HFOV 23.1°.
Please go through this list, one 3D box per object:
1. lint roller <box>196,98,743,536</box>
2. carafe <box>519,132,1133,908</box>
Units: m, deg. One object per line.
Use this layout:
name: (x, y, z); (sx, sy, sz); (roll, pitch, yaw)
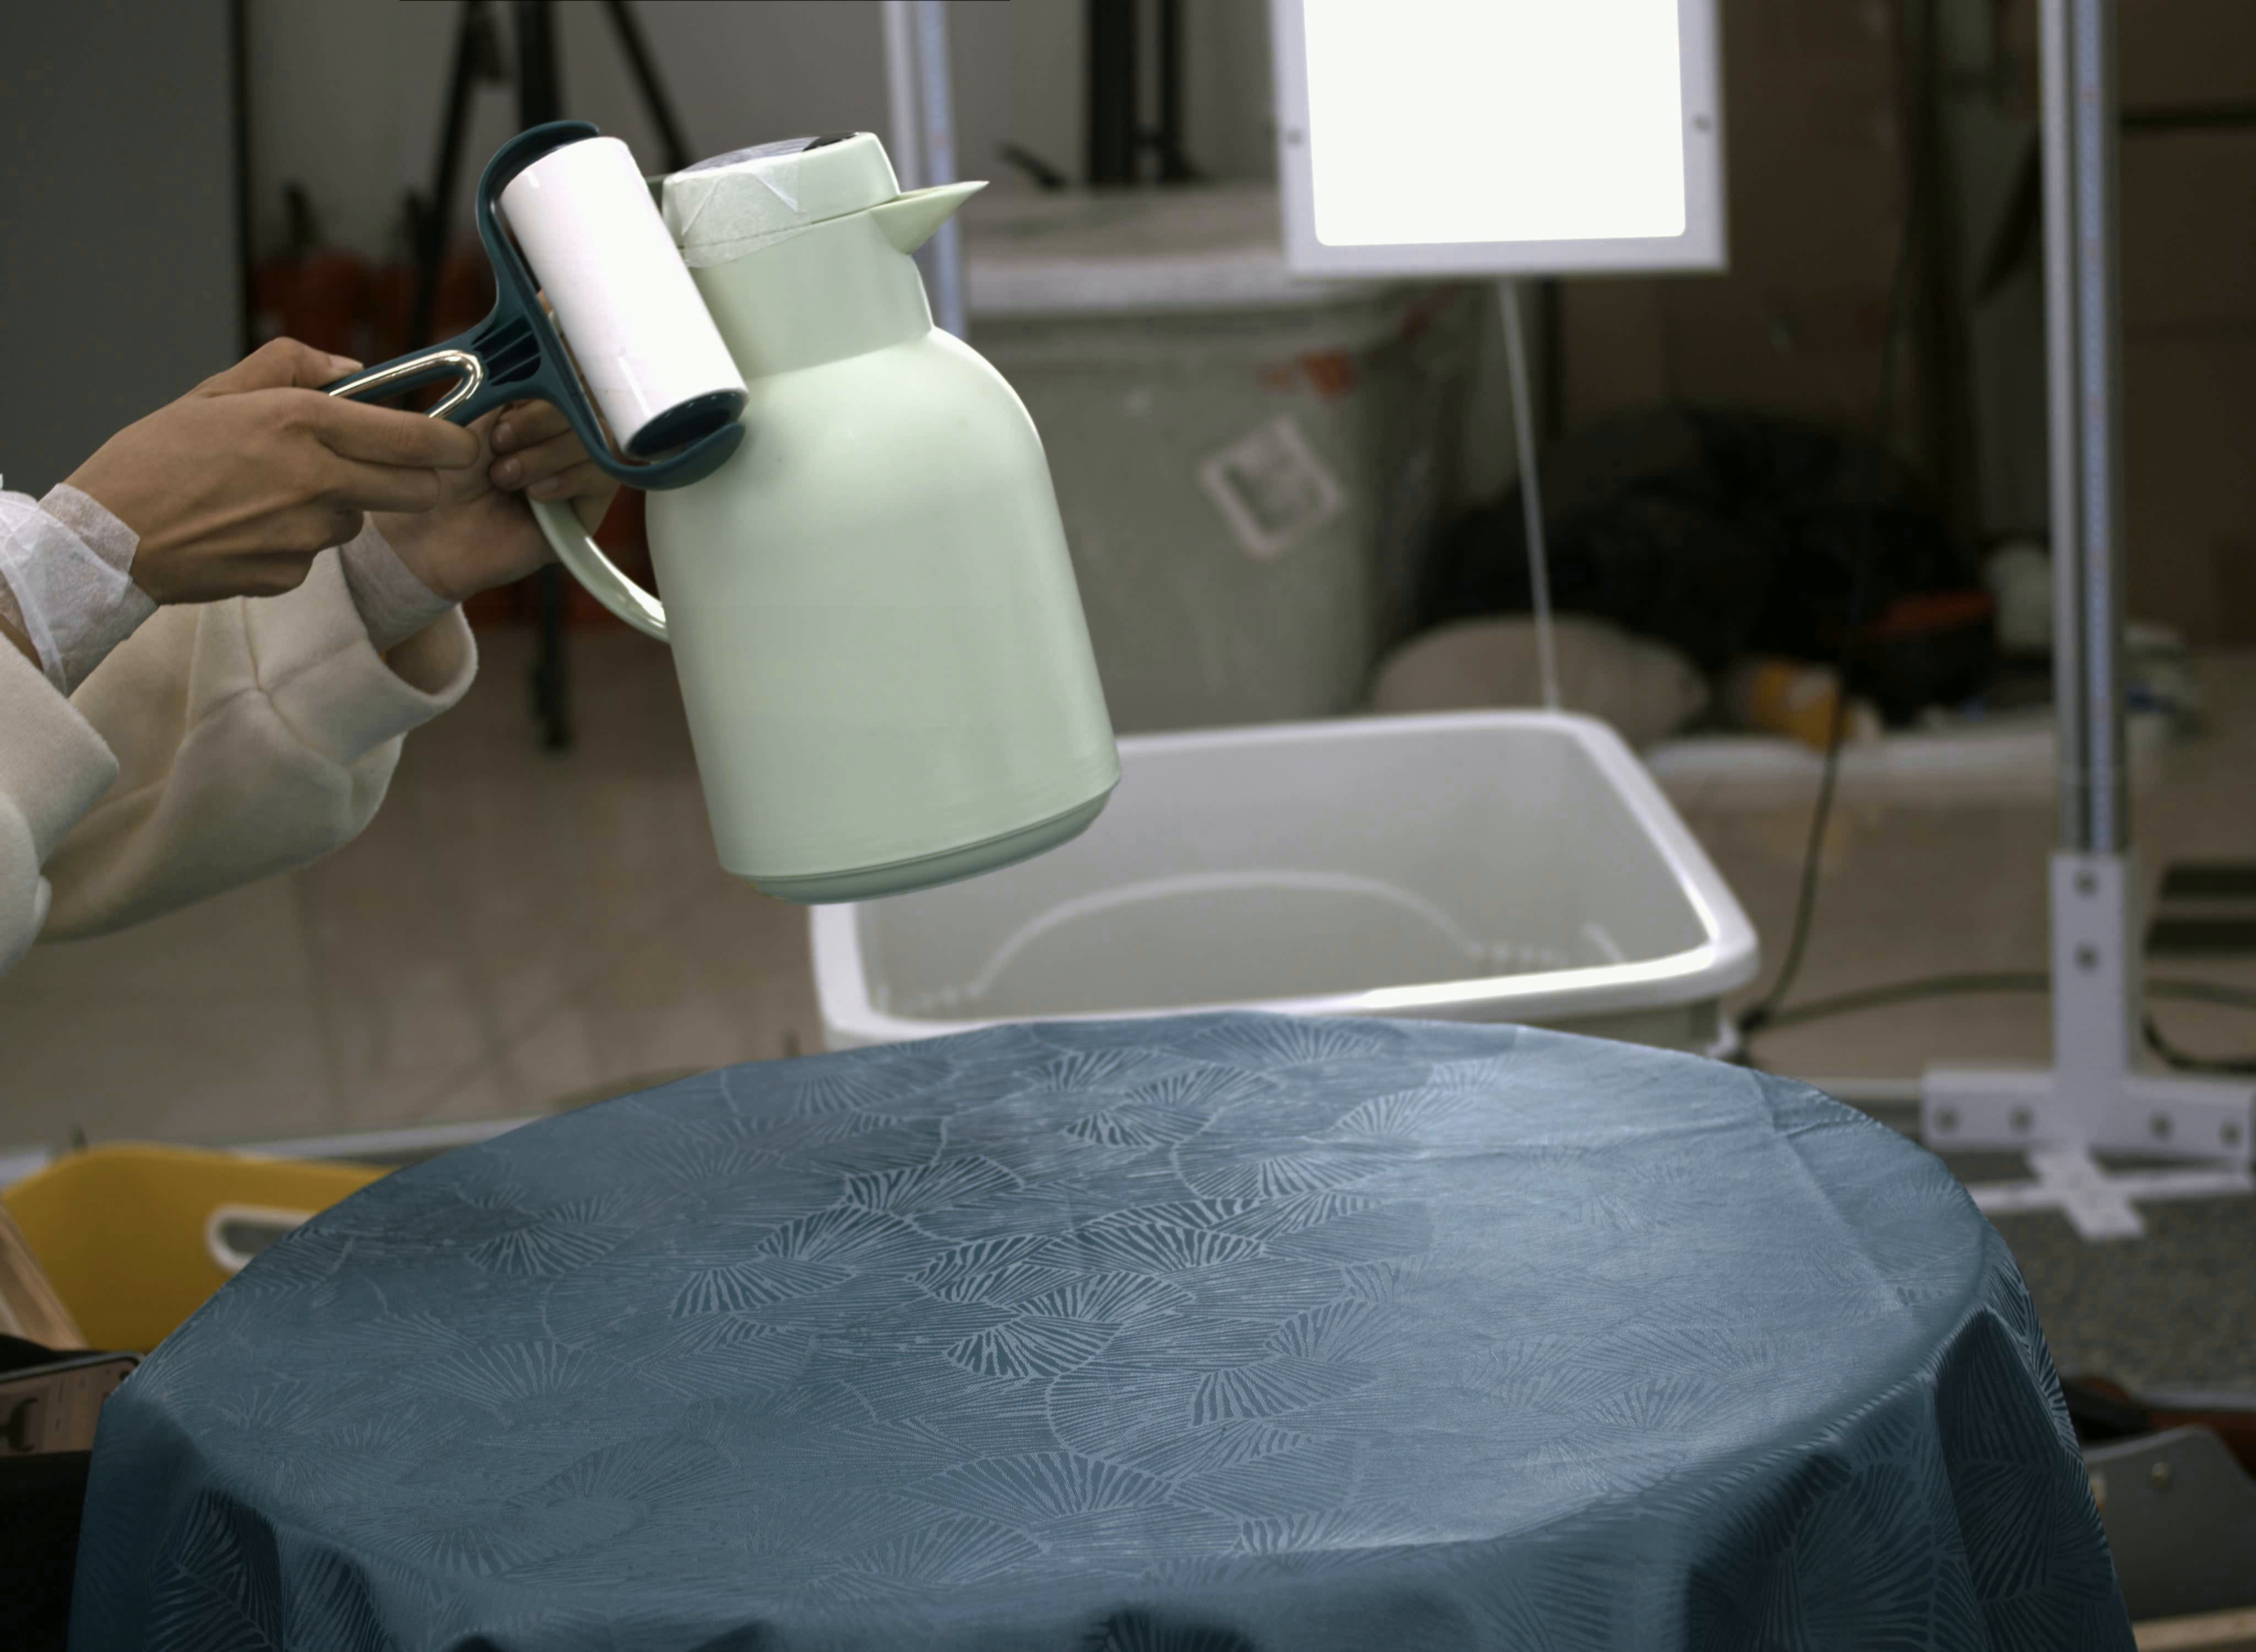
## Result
lint roller: (-0.230, -0.148, 1.841); (0.179, 0.135, 0.048); (-25, -15, -6)
carafe: (-0.108, -0.107, 1.912); (0.189, 0.257, 0.142); (-13, 12, 17)
